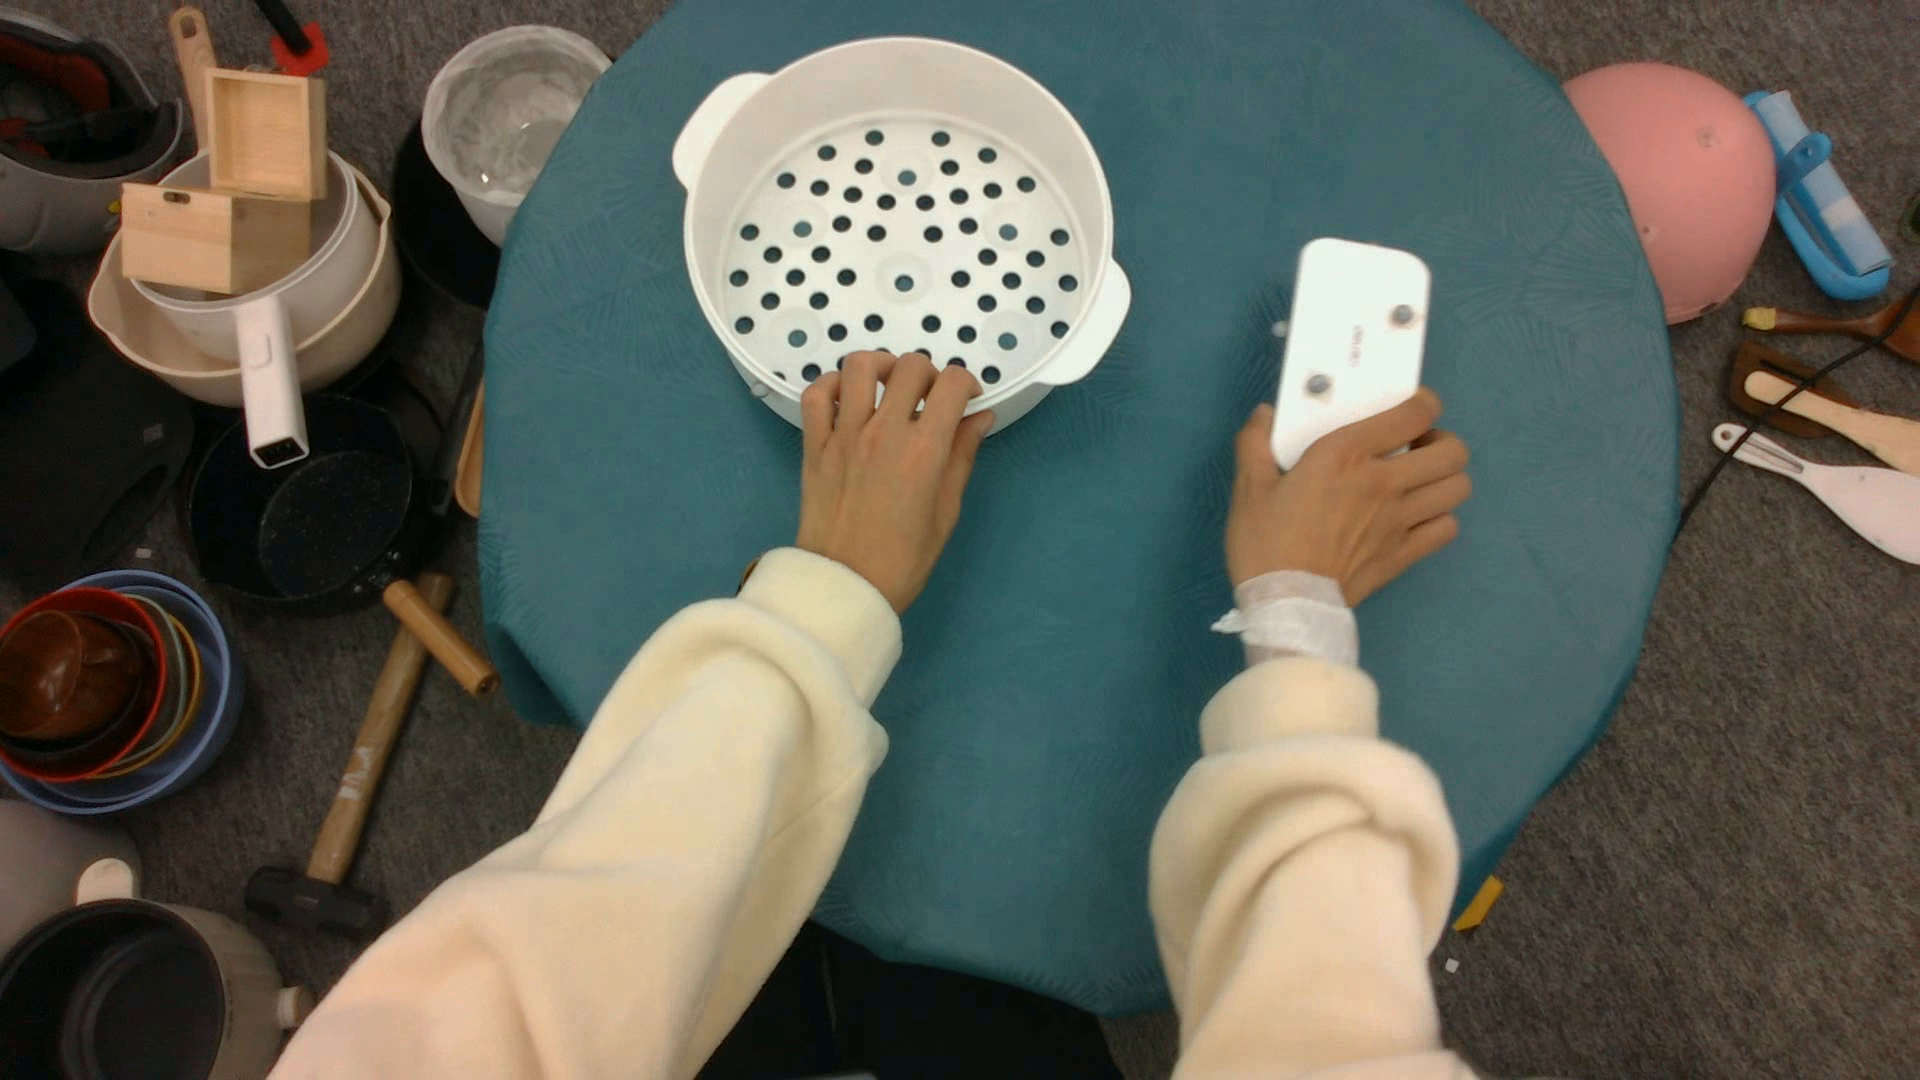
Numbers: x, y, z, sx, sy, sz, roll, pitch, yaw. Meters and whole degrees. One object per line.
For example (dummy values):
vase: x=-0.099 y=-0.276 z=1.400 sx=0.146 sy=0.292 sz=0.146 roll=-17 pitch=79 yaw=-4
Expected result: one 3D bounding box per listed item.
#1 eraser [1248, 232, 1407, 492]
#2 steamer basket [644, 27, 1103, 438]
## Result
eraser: x=0.174 y=-0.088 z=0.659 sx=0.063 sy=0.034 sz=0.132 roll=14 pitch=68 yaw=5
steamer basket: x=-0.042 y=-0.148 z=0.674 sx=0.230 sy=0.069 sz=0.202 roll=29 pitch=75 yaw=8
